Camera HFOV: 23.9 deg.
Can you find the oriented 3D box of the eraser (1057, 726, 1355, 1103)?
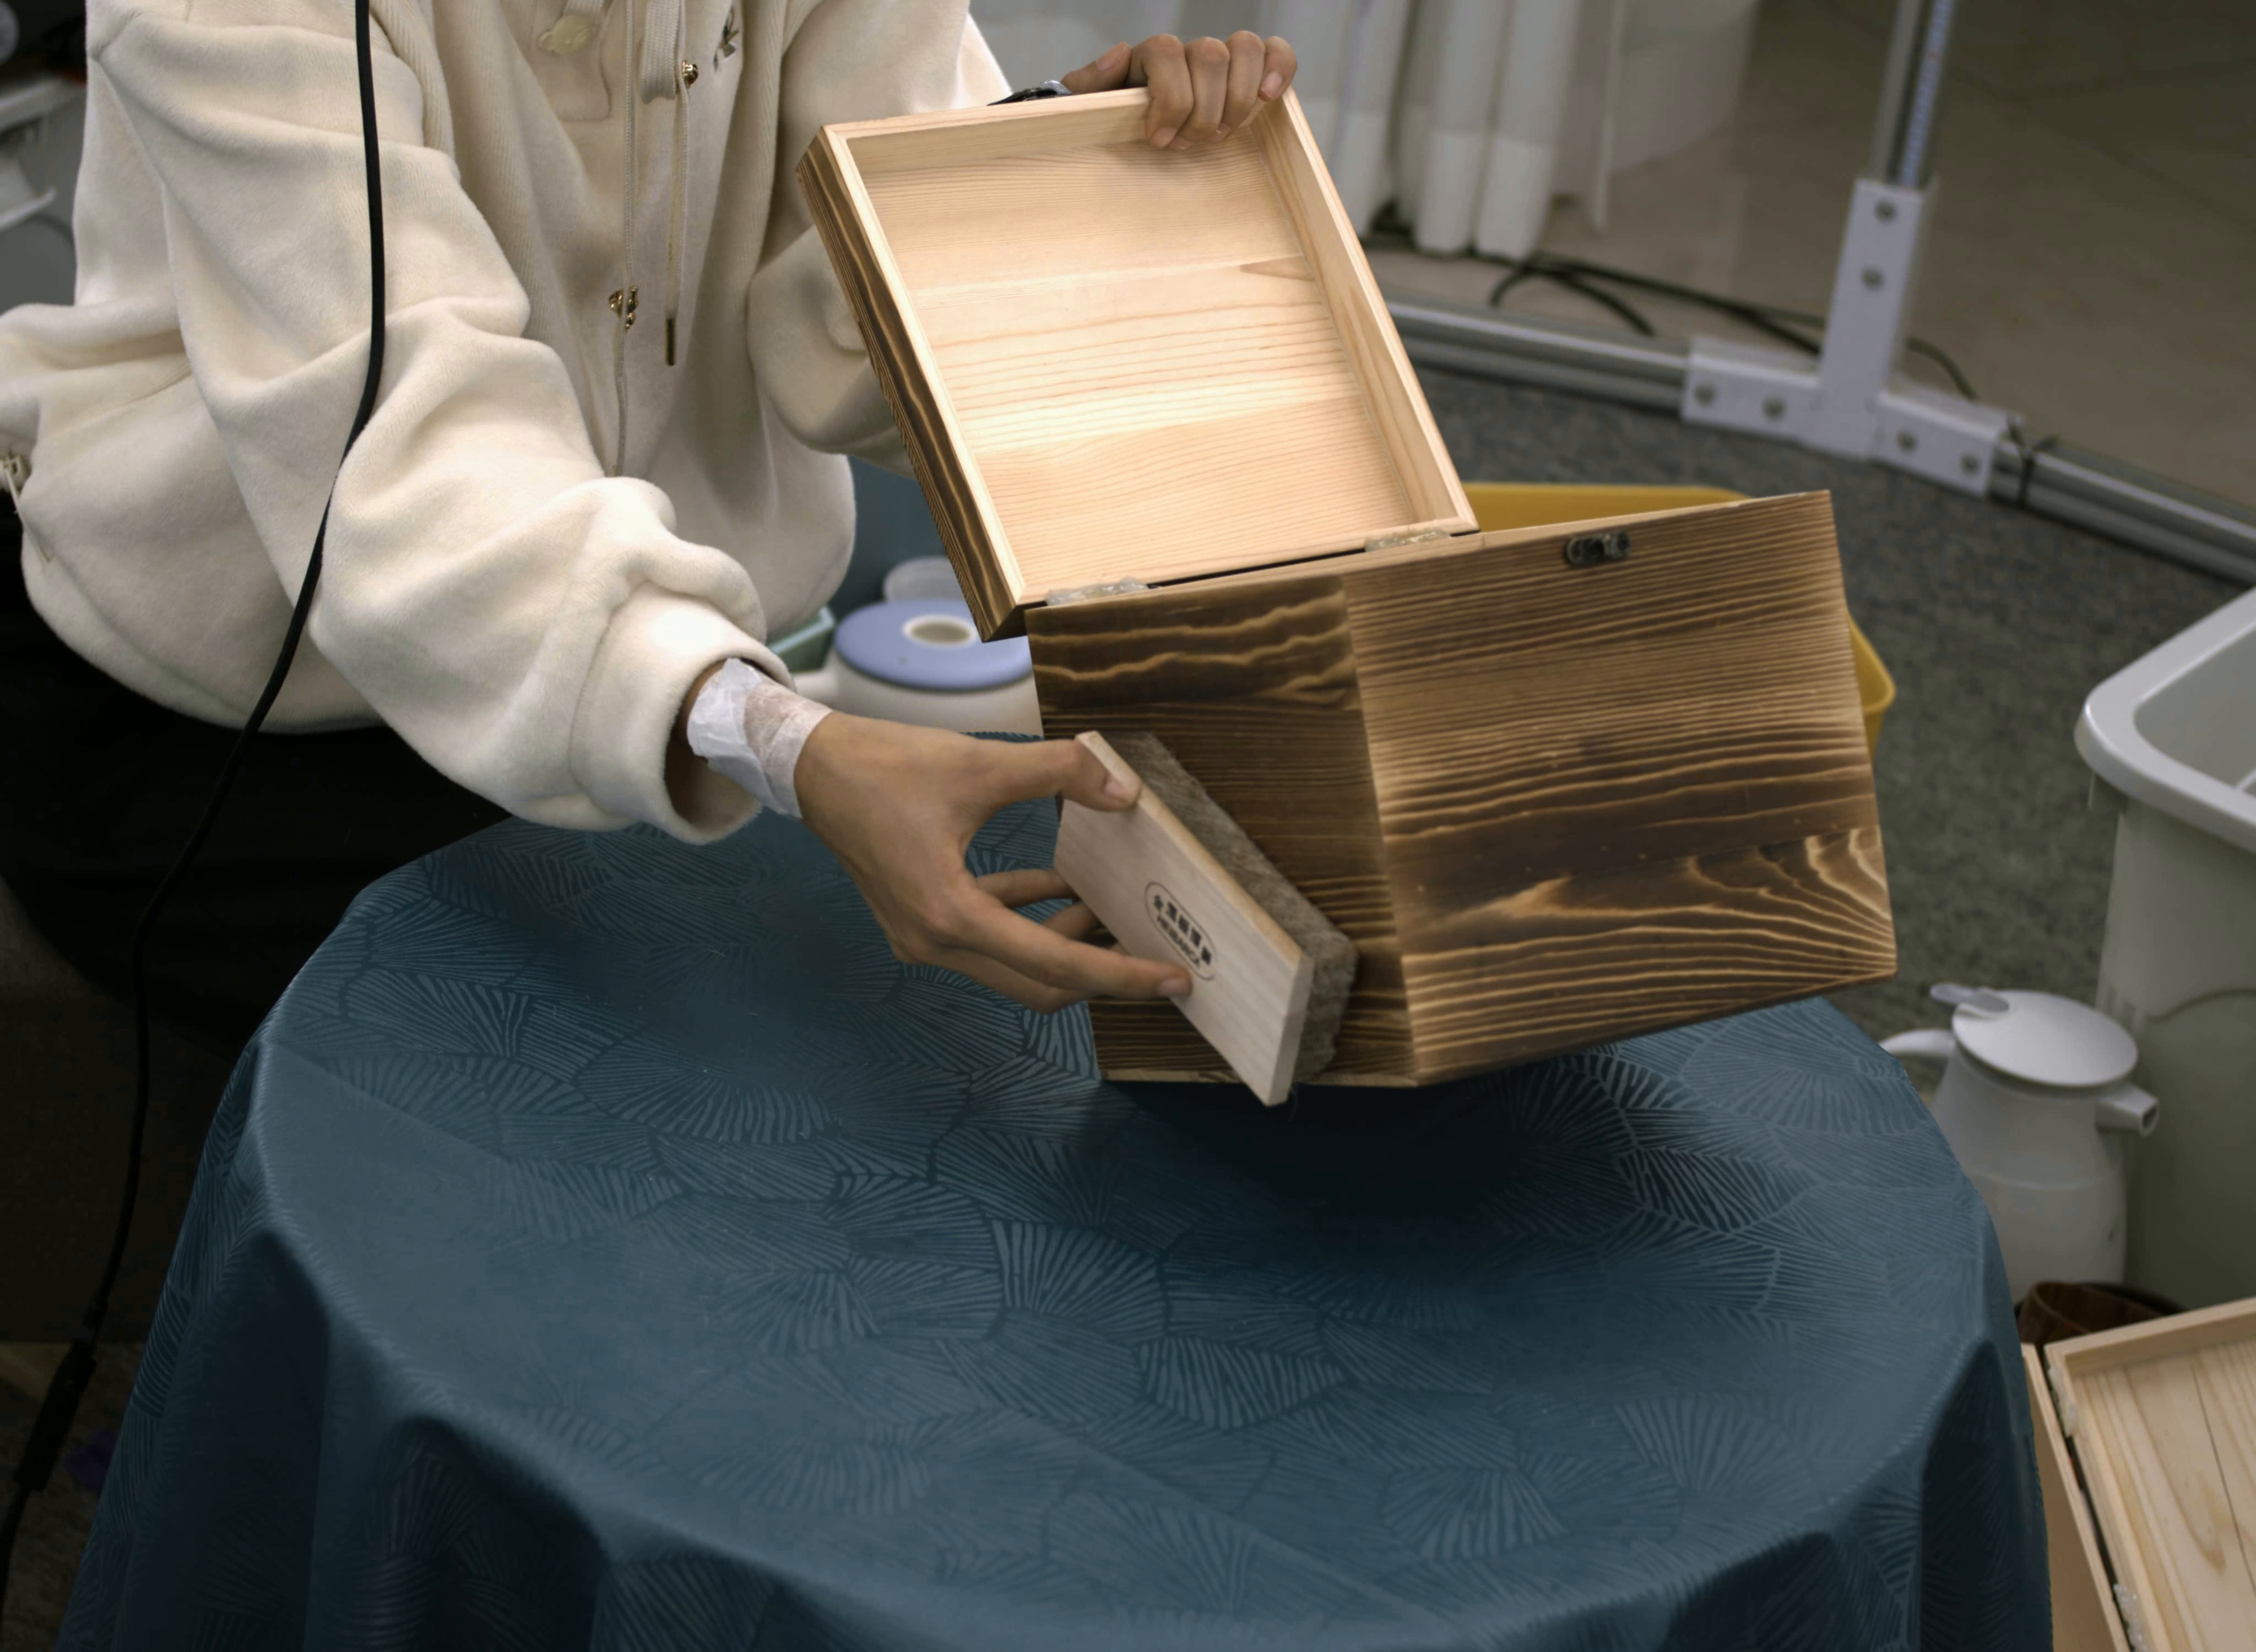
[{"bbox_3d":[0.025,0.027,1.764,0.029,0.057,0.140,-11,41,-29],"label":"eraser"}]

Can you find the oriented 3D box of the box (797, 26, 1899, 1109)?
[{"bbox_3d":[0.069,-0.108,1.866,0.207,0.376,0.323,-12,4,-31],"label":"box"}]
